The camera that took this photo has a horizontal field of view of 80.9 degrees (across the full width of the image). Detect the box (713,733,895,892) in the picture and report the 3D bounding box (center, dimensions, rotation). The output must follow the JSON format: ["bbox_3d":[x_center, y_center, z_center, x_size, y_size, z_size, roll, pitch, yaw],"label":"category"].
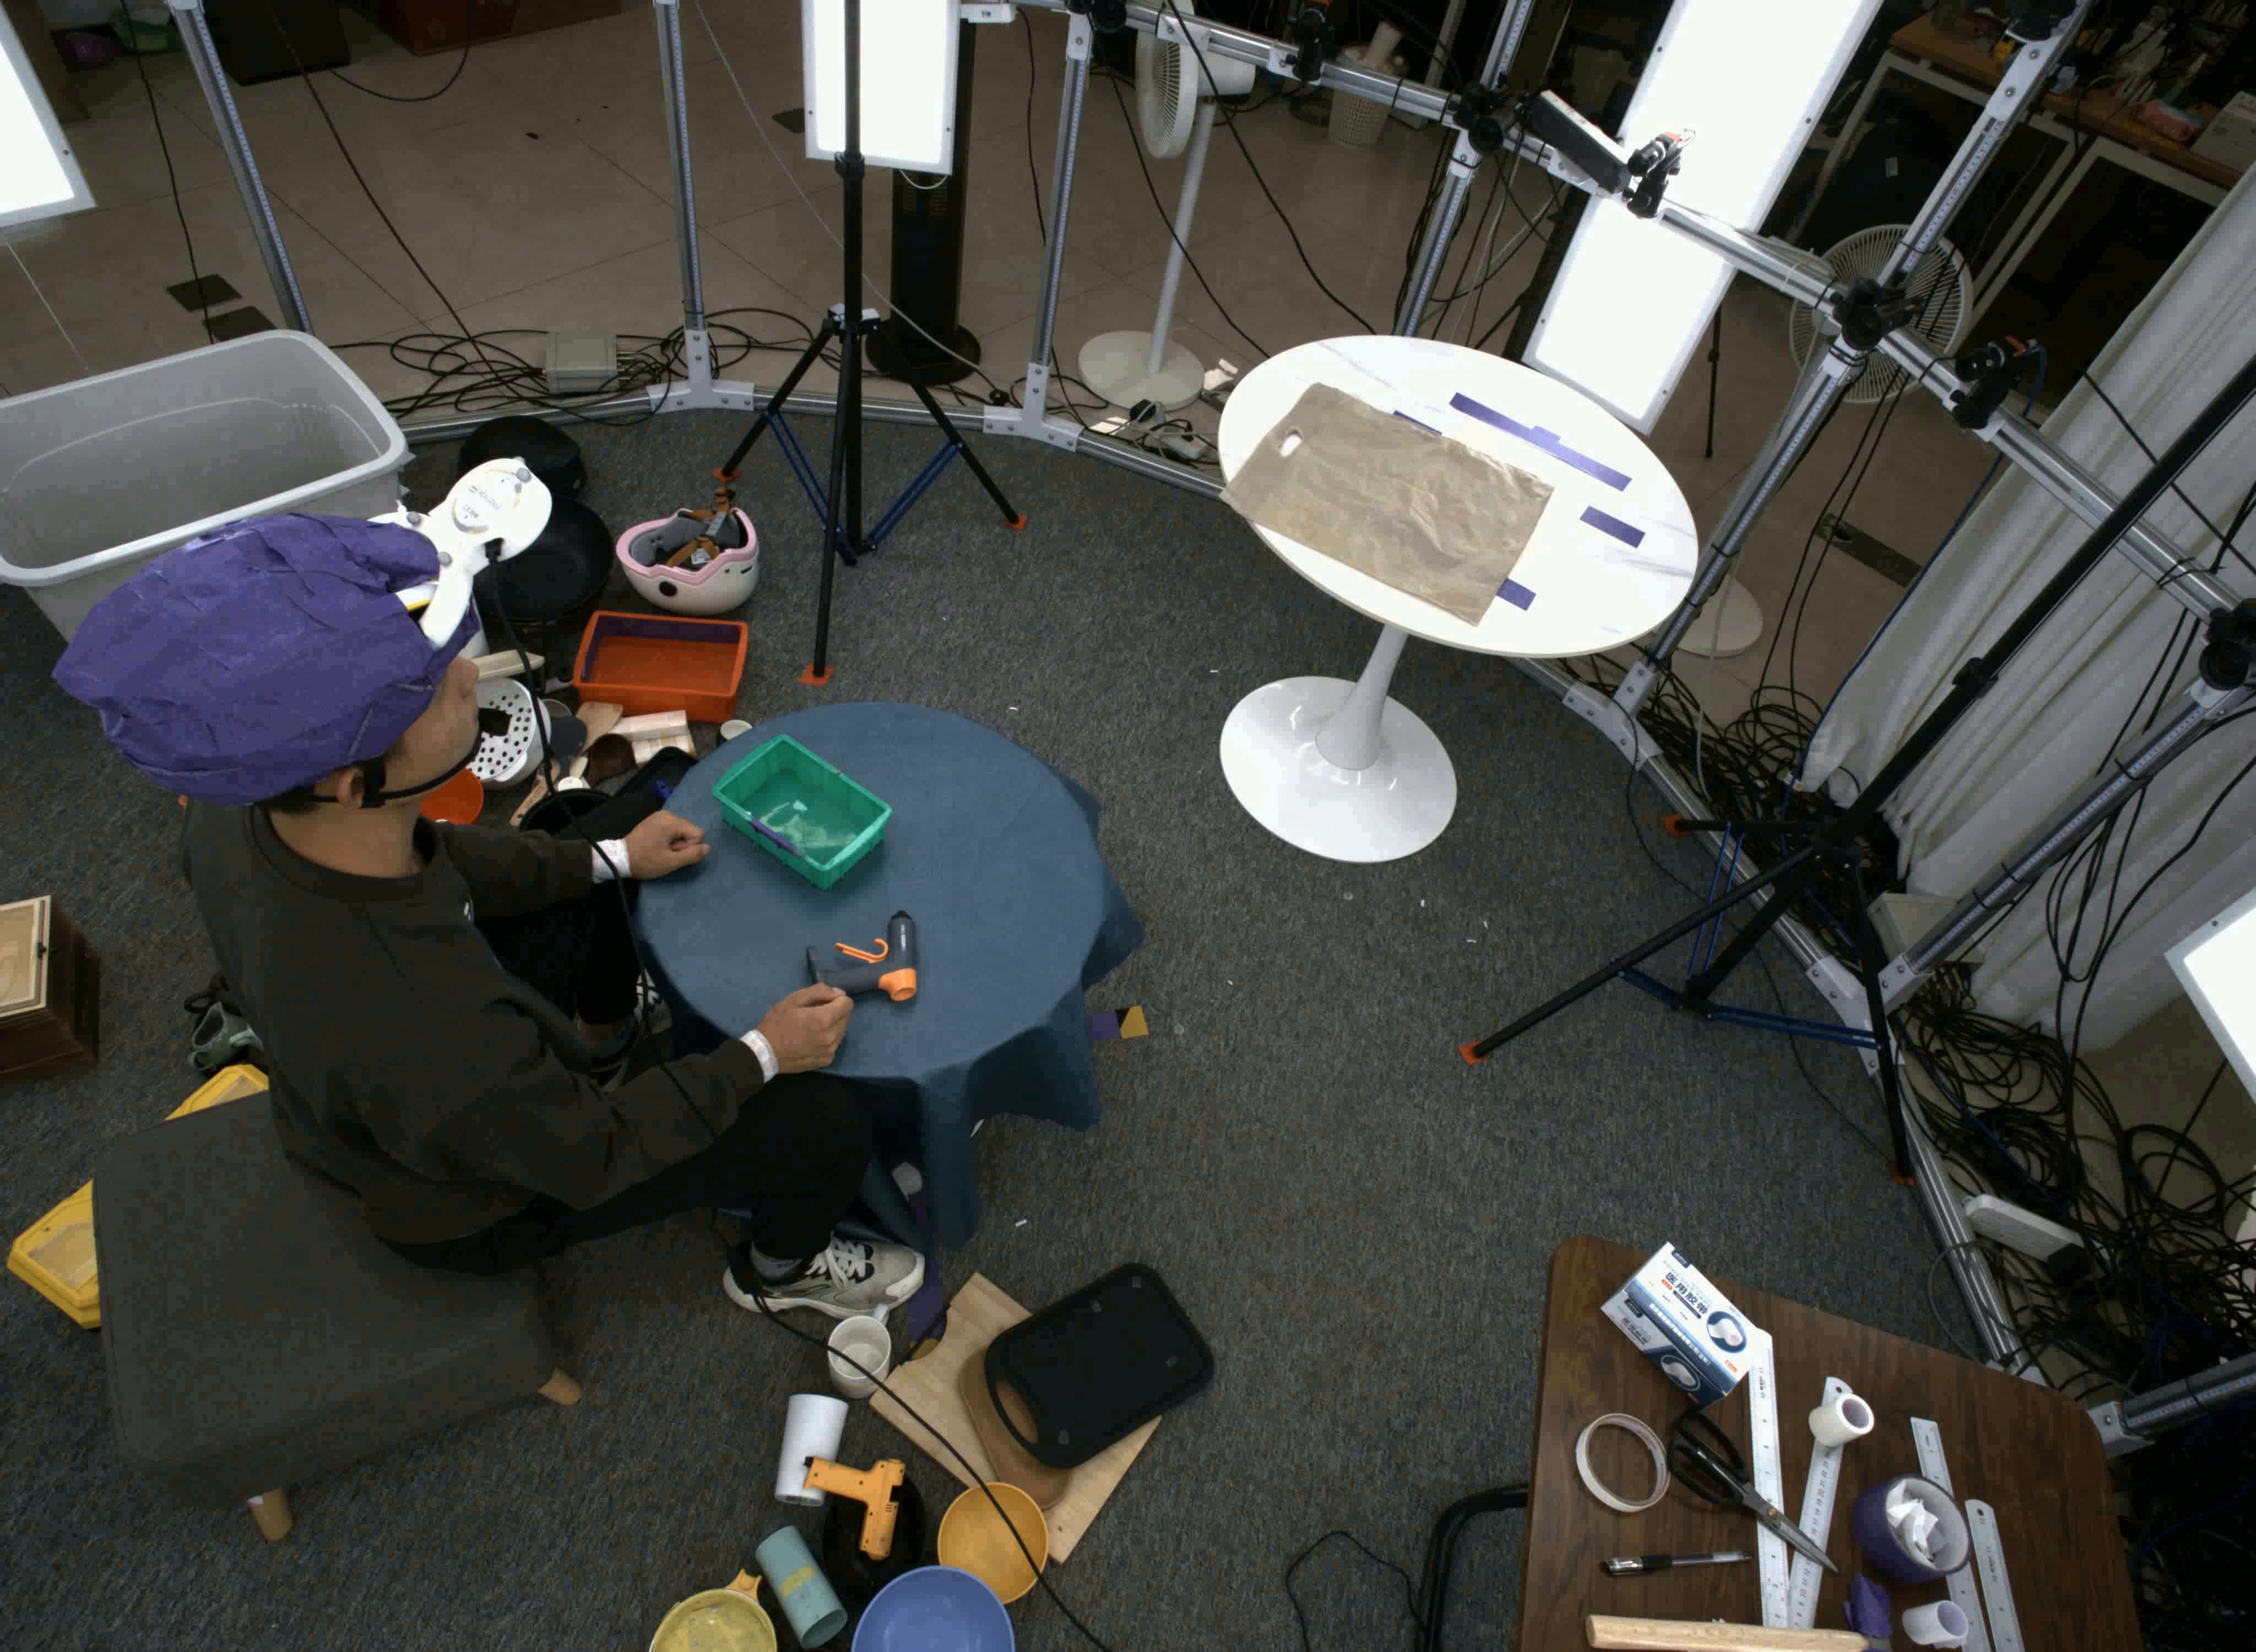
[{"bbox_3d":[-0.421,-0.016,1.692,0.207,0.066,0.138,33,54,9],"label":"box"}]

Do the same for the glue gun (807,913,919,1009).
[{"bbox_3d":[-0.320,0.166,1.602,0.140,0.042,0.115,-13,56,-25],"label":"glue gun"}]
